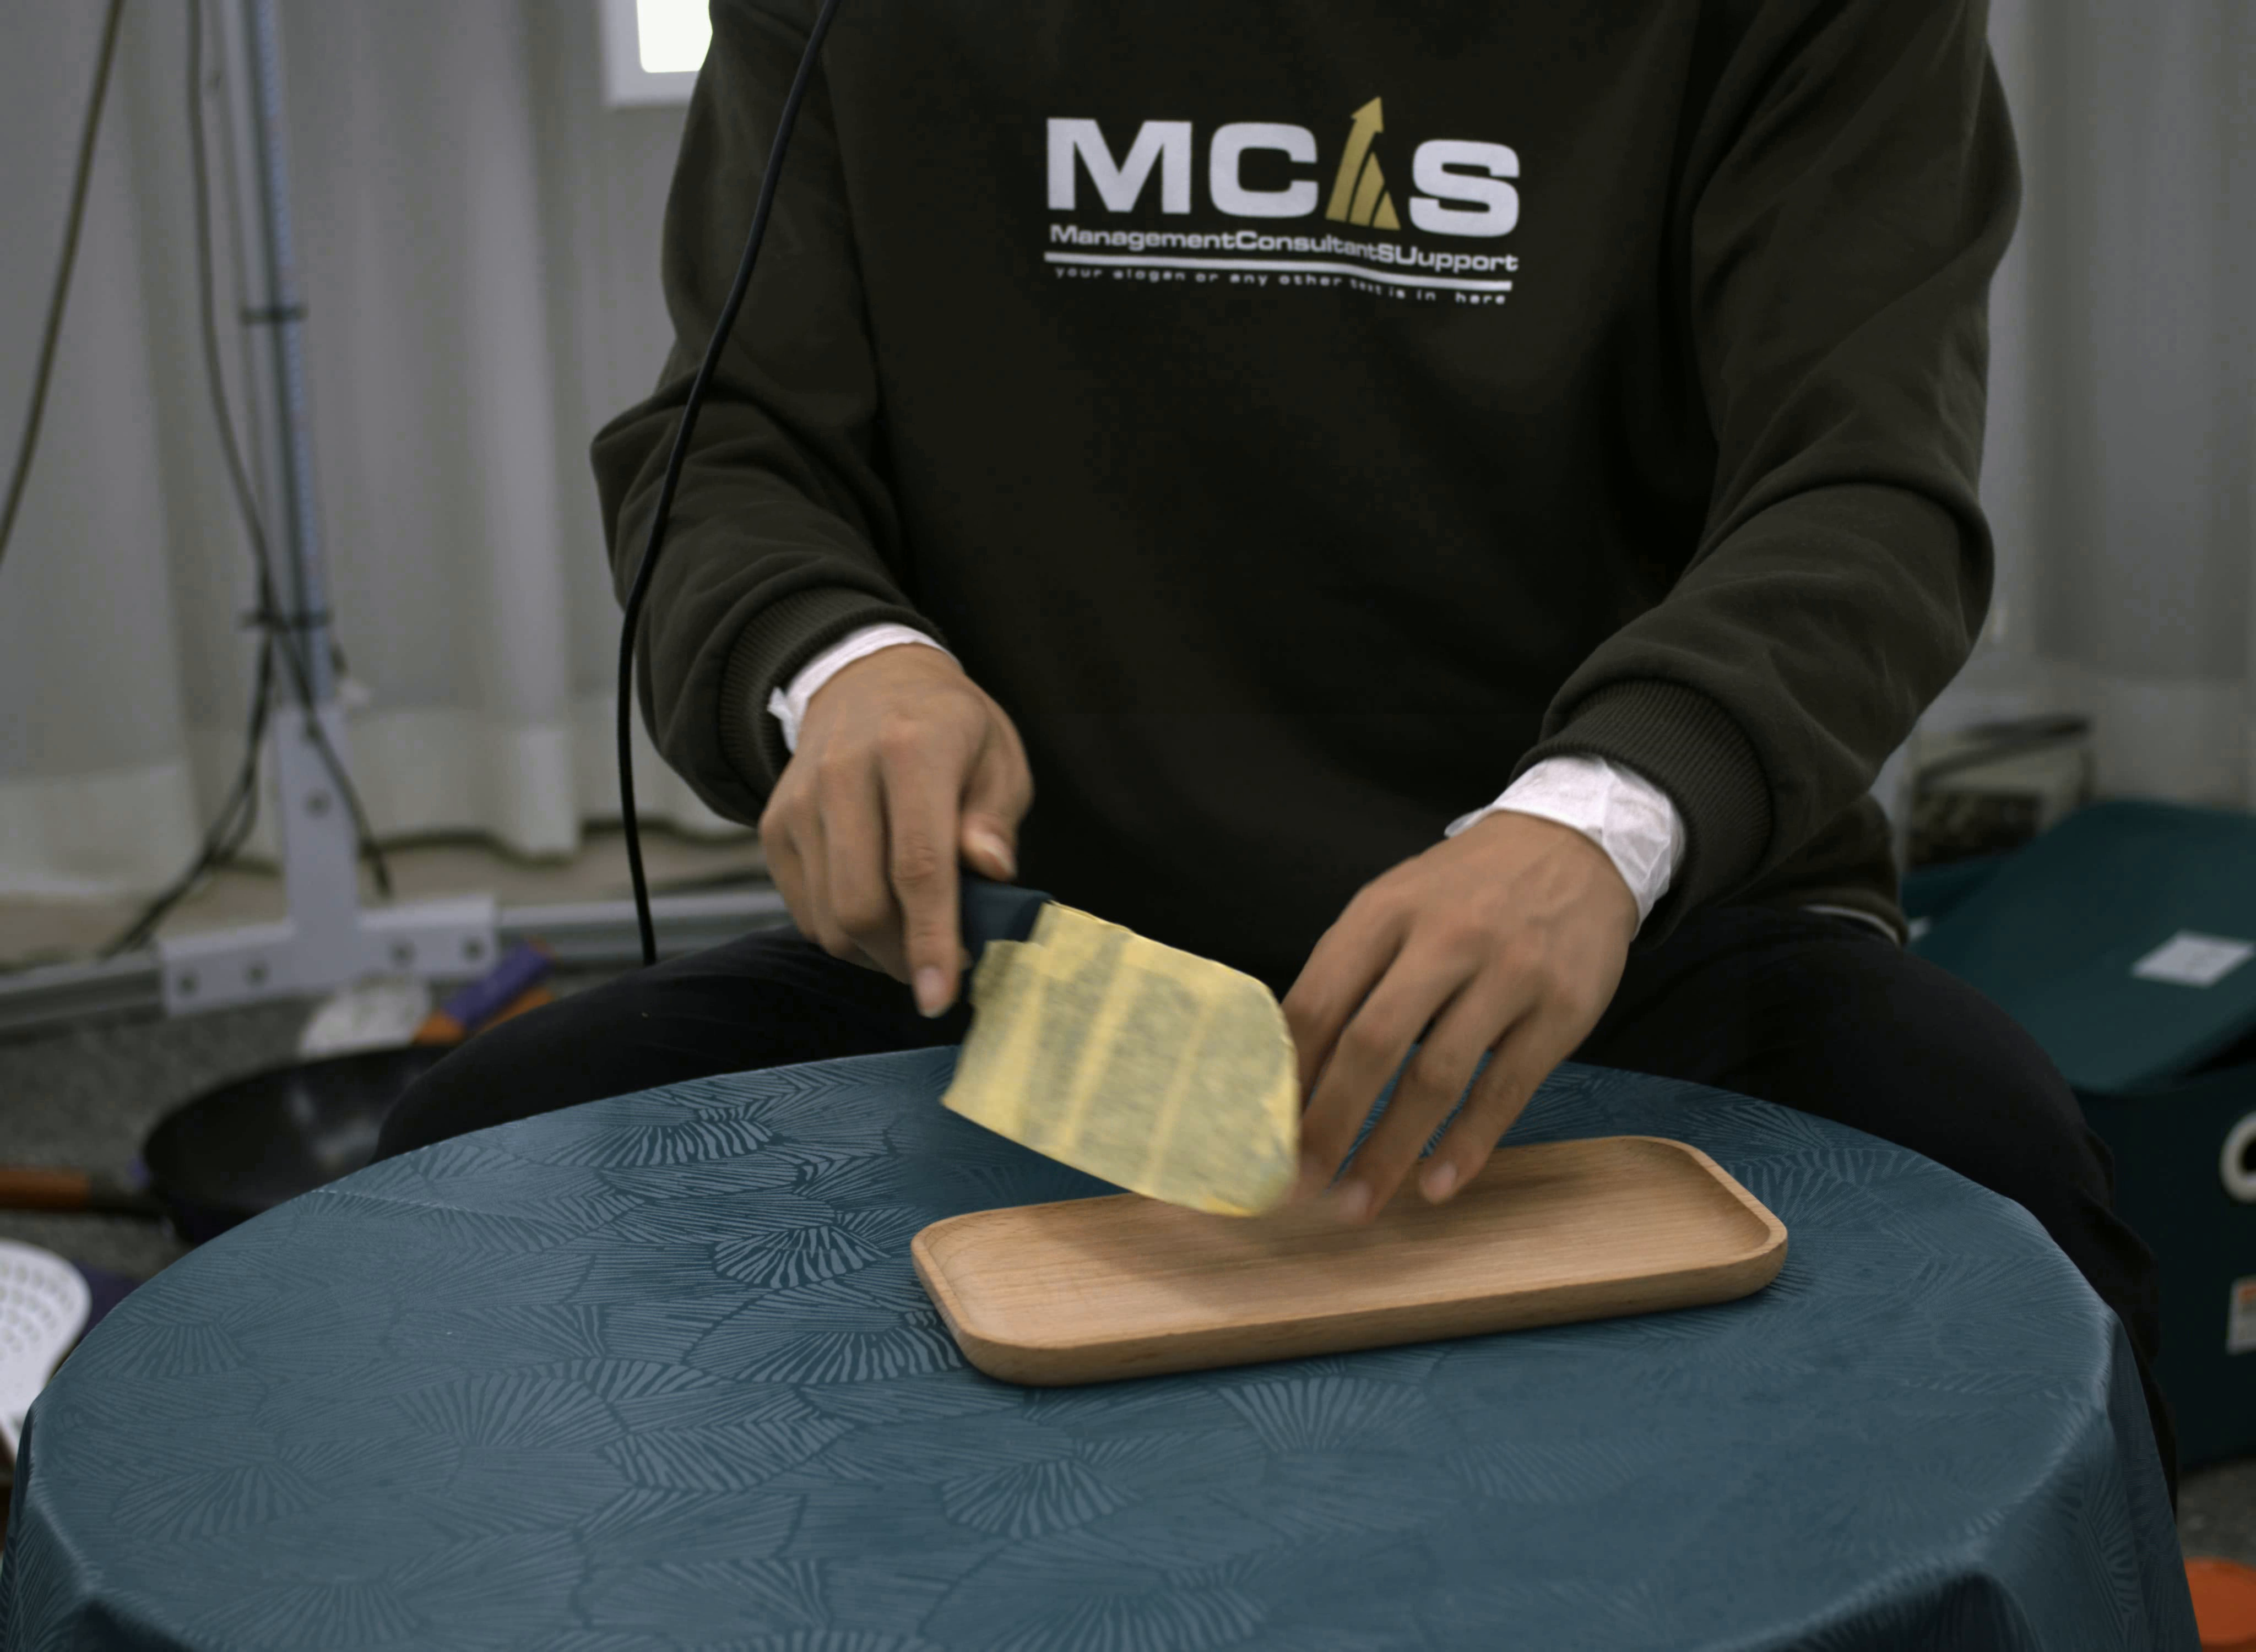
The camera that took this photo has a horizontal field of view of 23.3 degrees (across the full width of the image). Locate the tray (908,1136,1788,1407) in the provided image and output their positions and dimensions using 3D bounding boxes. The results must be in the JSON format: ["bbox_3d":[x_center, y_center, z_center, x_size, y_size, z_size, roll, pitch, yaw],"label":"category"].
[{"bbox_3d":[0.064,0.131,1.621,0.249,0.023,0.131,-8,13,-11],"label":"tray"}]

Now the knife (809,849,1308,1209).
[{"bbox_3d":[-0.026,0.059,1.679,0.027,0.081,0.292,22,1,-35],"label":"knife"}]
